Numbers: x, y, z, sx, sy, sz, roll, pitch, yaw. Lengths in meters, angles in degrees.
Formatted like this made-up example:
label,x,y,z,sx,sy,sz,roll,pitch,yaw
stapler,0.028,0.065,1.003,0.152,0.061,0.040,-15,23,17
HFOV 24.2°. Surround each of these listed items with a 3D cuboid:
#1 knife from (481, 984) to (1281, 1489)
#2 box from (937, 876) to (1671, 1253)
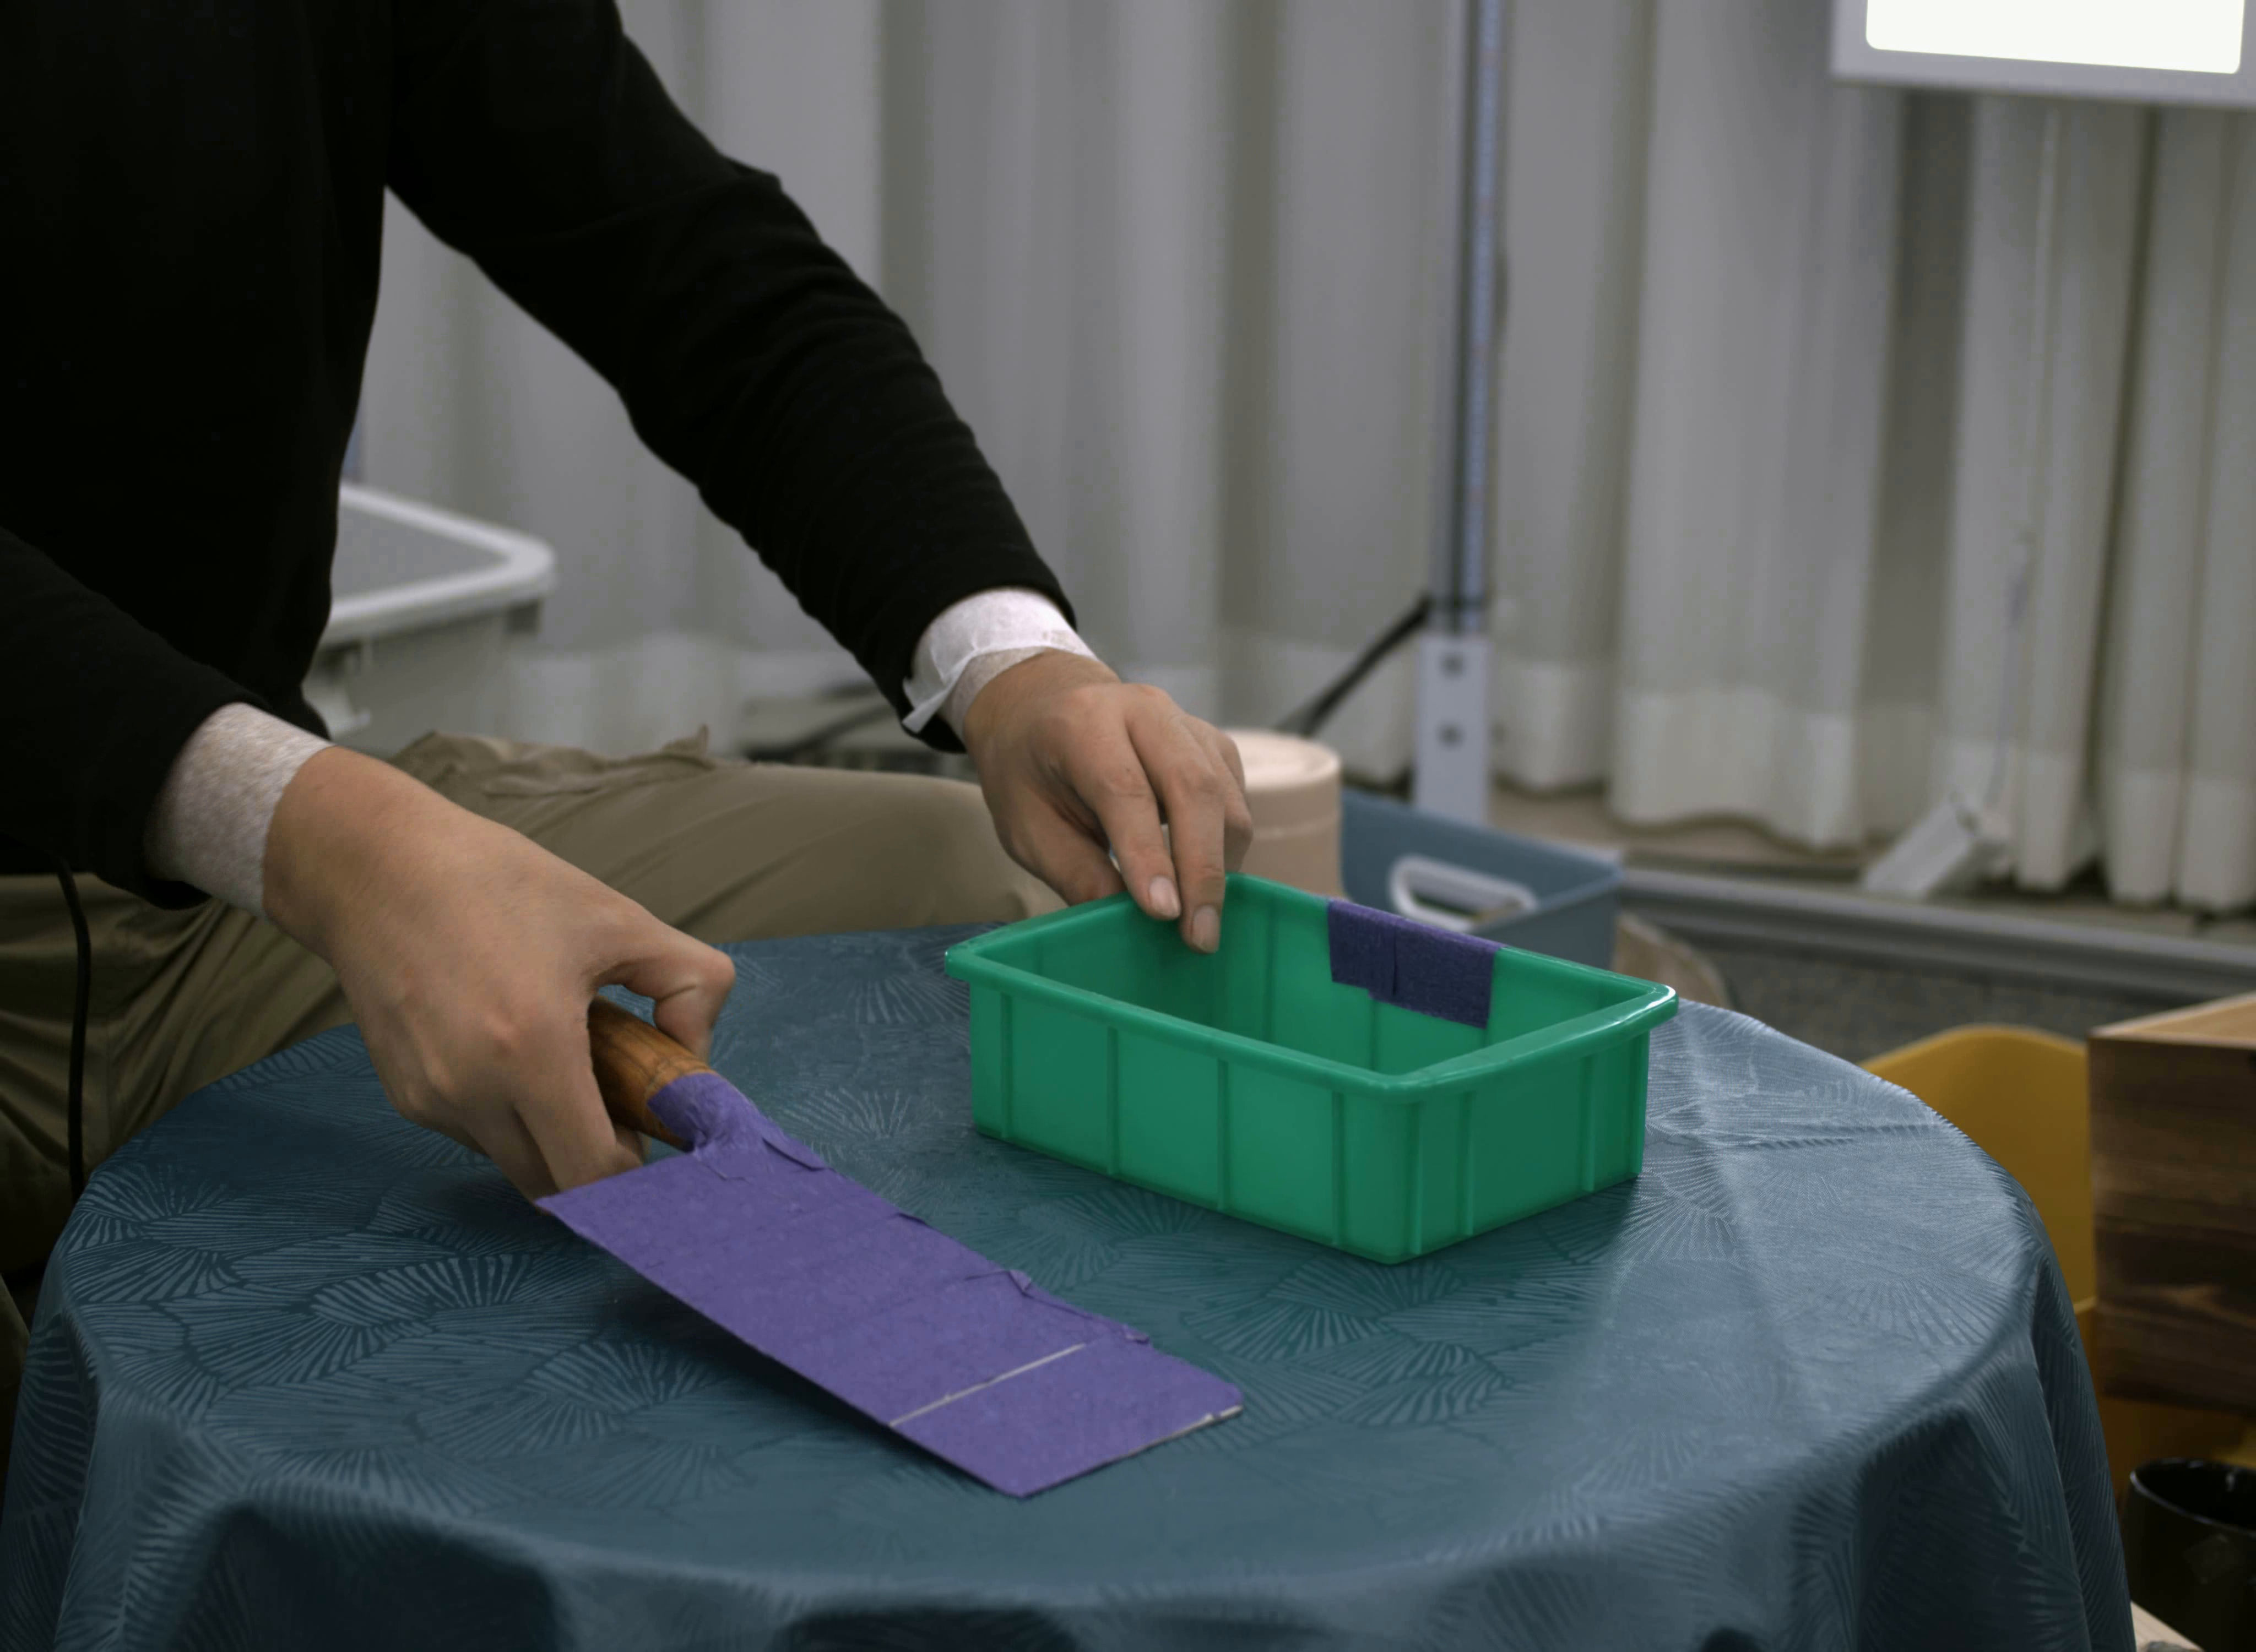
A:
label,x,y,z,sx,sy,sz,roll,pitch,yaw
knife,-0.101,0.113,1.509,0.311,0.032,0.104,23,26,39
box,0.054,0.073,1.648,0.208,0.066,0.139,12,18,41
